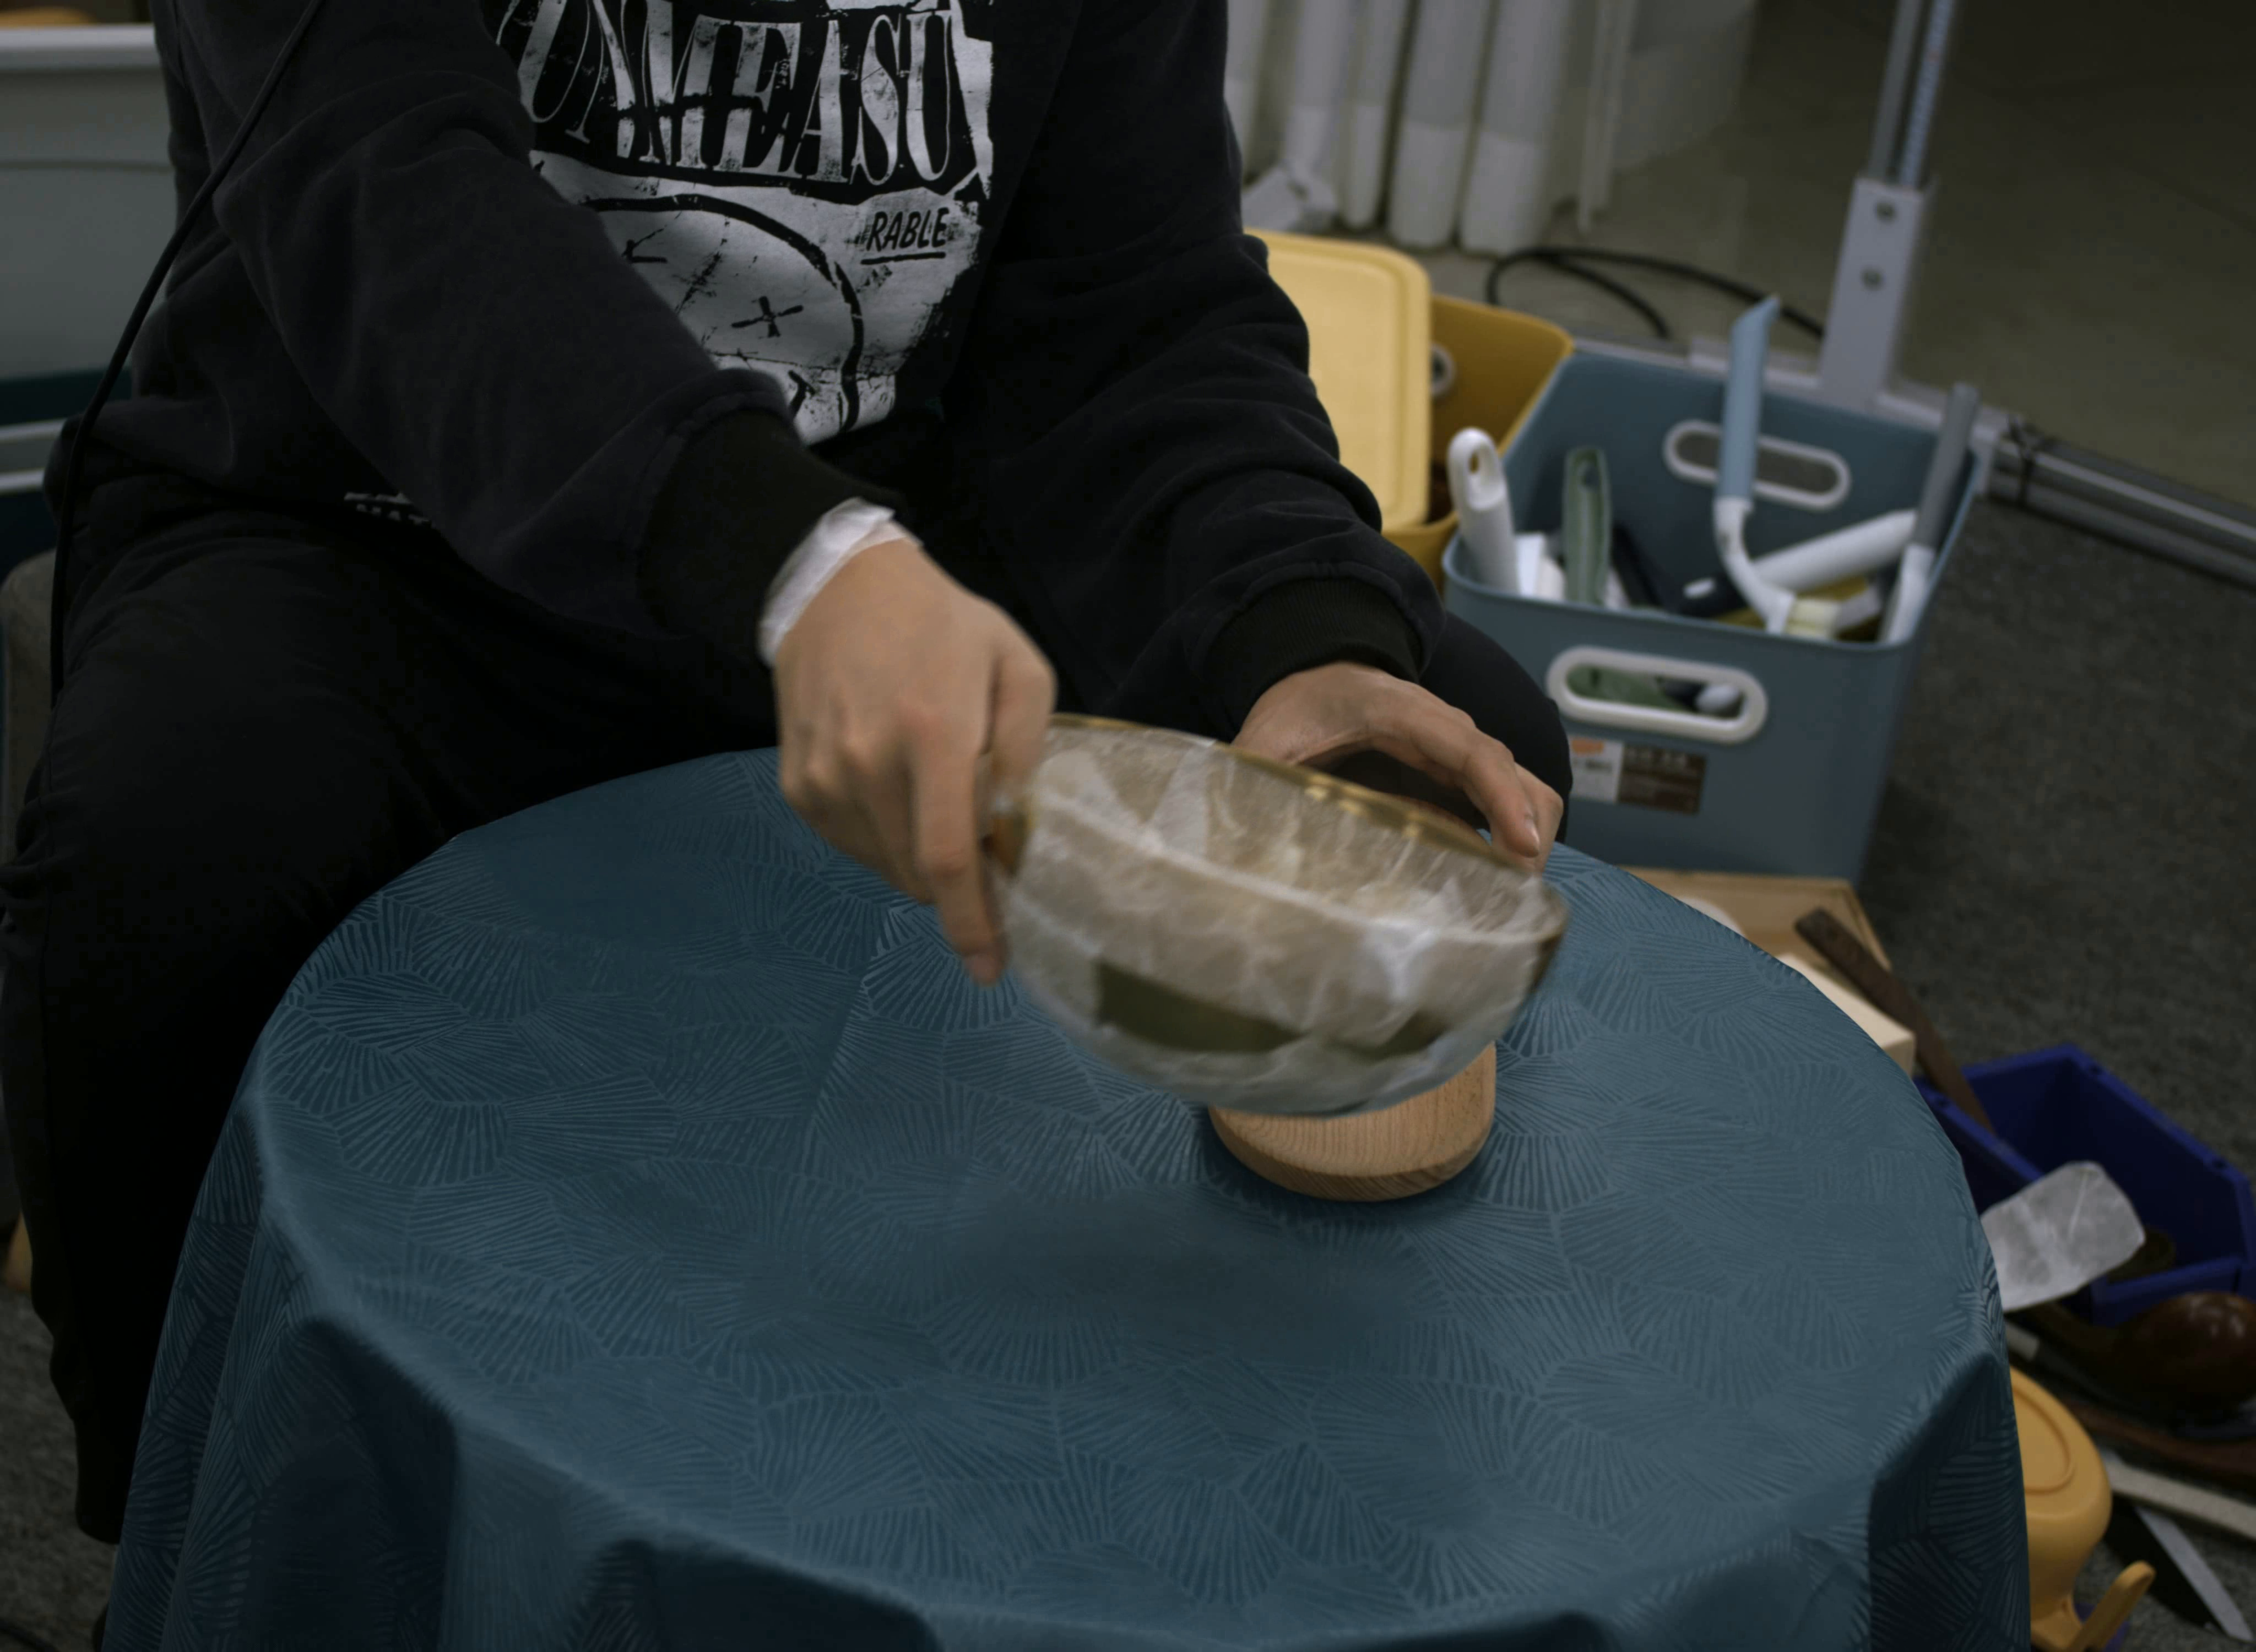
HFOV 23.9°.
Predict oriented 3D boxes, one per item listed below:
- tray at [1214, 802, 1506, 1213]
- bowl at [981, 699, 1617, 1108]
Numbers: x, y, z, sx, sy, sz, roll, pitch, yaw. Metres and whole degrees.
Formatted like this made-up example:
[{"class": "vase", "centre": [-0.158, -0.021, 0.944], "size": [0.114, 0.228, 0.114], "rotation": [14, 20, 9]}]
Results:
[{"class": "tray", "centre": [0.083, 0.061, 1.893], "size": [0.101, 0.020, 0.233], "rotation": [1, 36, 3]}, {"class": "bowl", "centre": [0.042, 0.036, 1.723], "size": [0.214, 0.094, 0.215], "rotation": [16, 11, -3]}]
